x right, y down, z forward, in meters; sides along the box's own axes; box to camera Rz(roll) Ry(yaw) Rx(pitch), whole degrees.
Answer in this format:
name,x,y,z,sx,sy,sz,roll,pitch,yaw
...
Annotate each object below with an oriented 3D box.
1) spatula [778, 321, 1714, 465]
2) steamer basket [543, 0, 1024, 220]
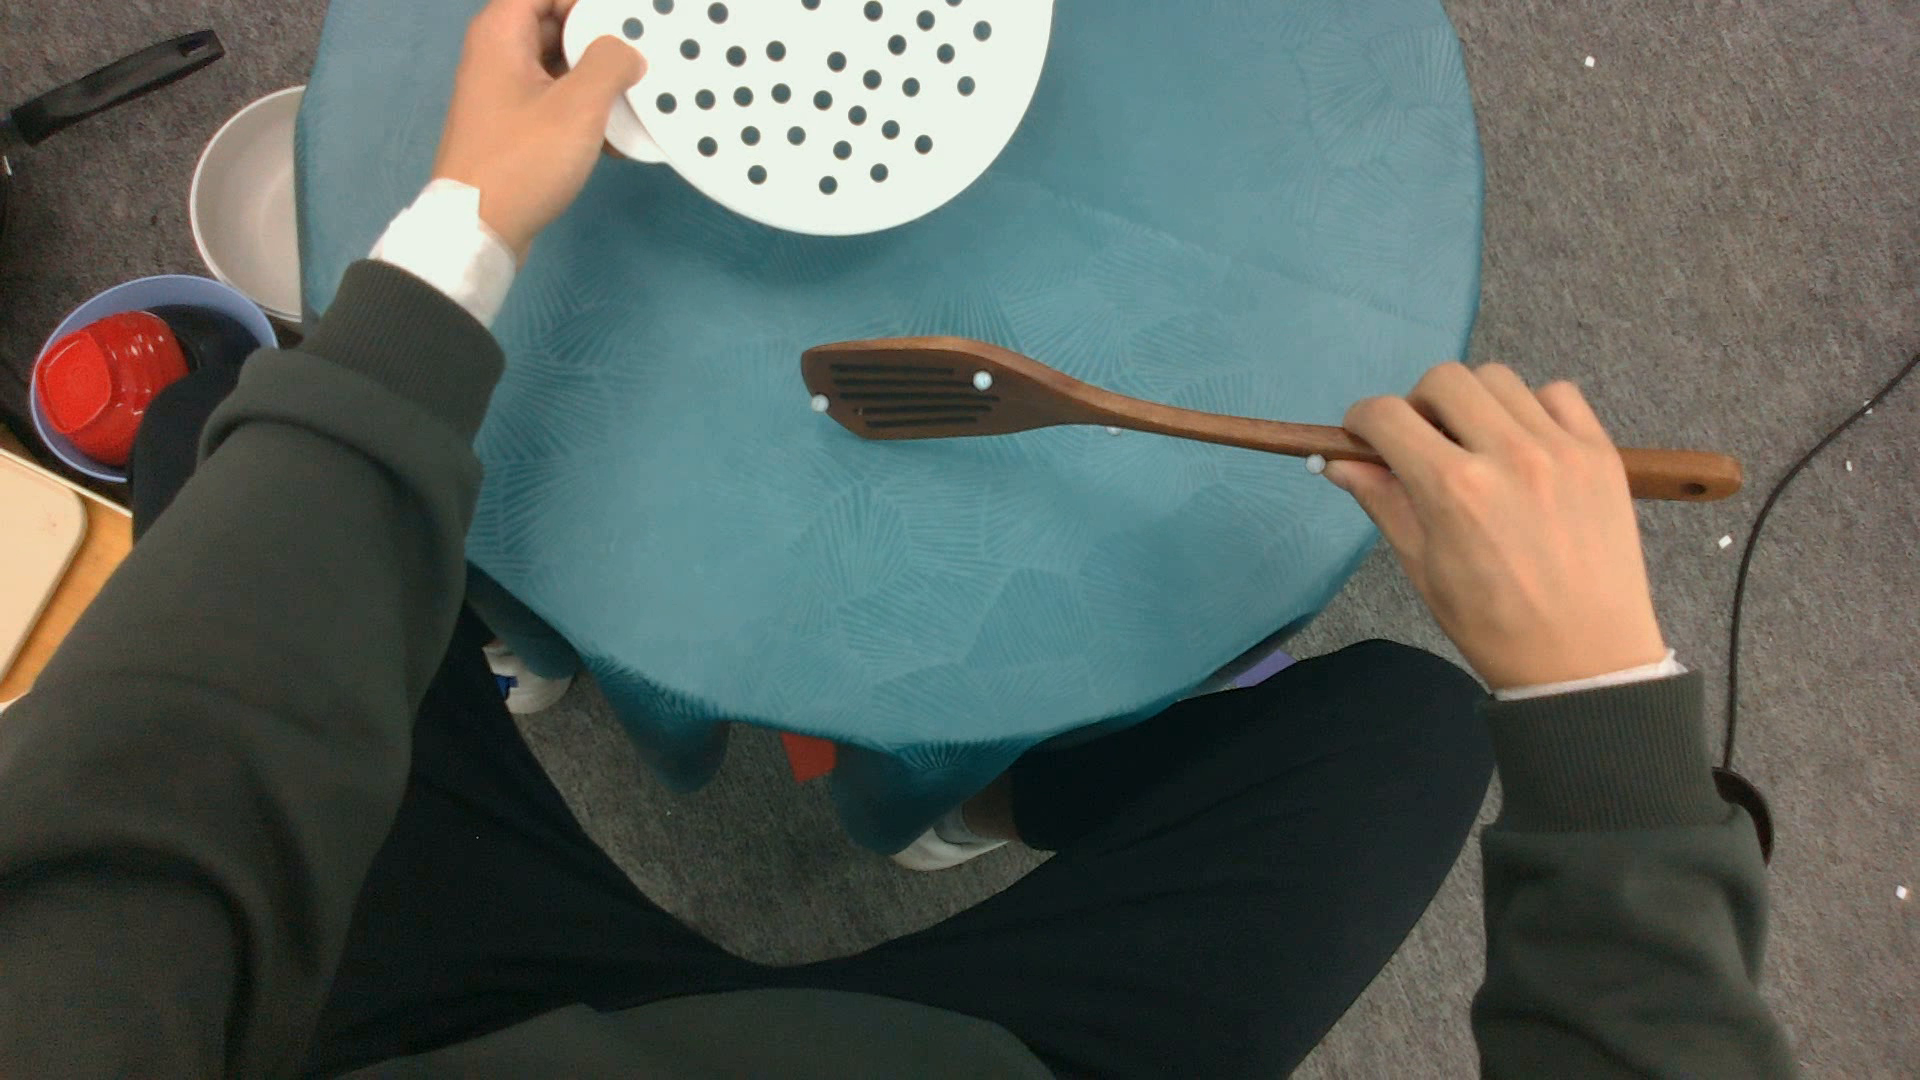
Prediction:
name,x,y,z,sx,sy,sz,roll,pitch,yaw
spatula,0.106,-0.060,0.584,0.385,0.085,0.024,7,68,18
steamer basket,-0.074,-0.253,0.632,0.230,0.069,0.201,-24,113,-1
